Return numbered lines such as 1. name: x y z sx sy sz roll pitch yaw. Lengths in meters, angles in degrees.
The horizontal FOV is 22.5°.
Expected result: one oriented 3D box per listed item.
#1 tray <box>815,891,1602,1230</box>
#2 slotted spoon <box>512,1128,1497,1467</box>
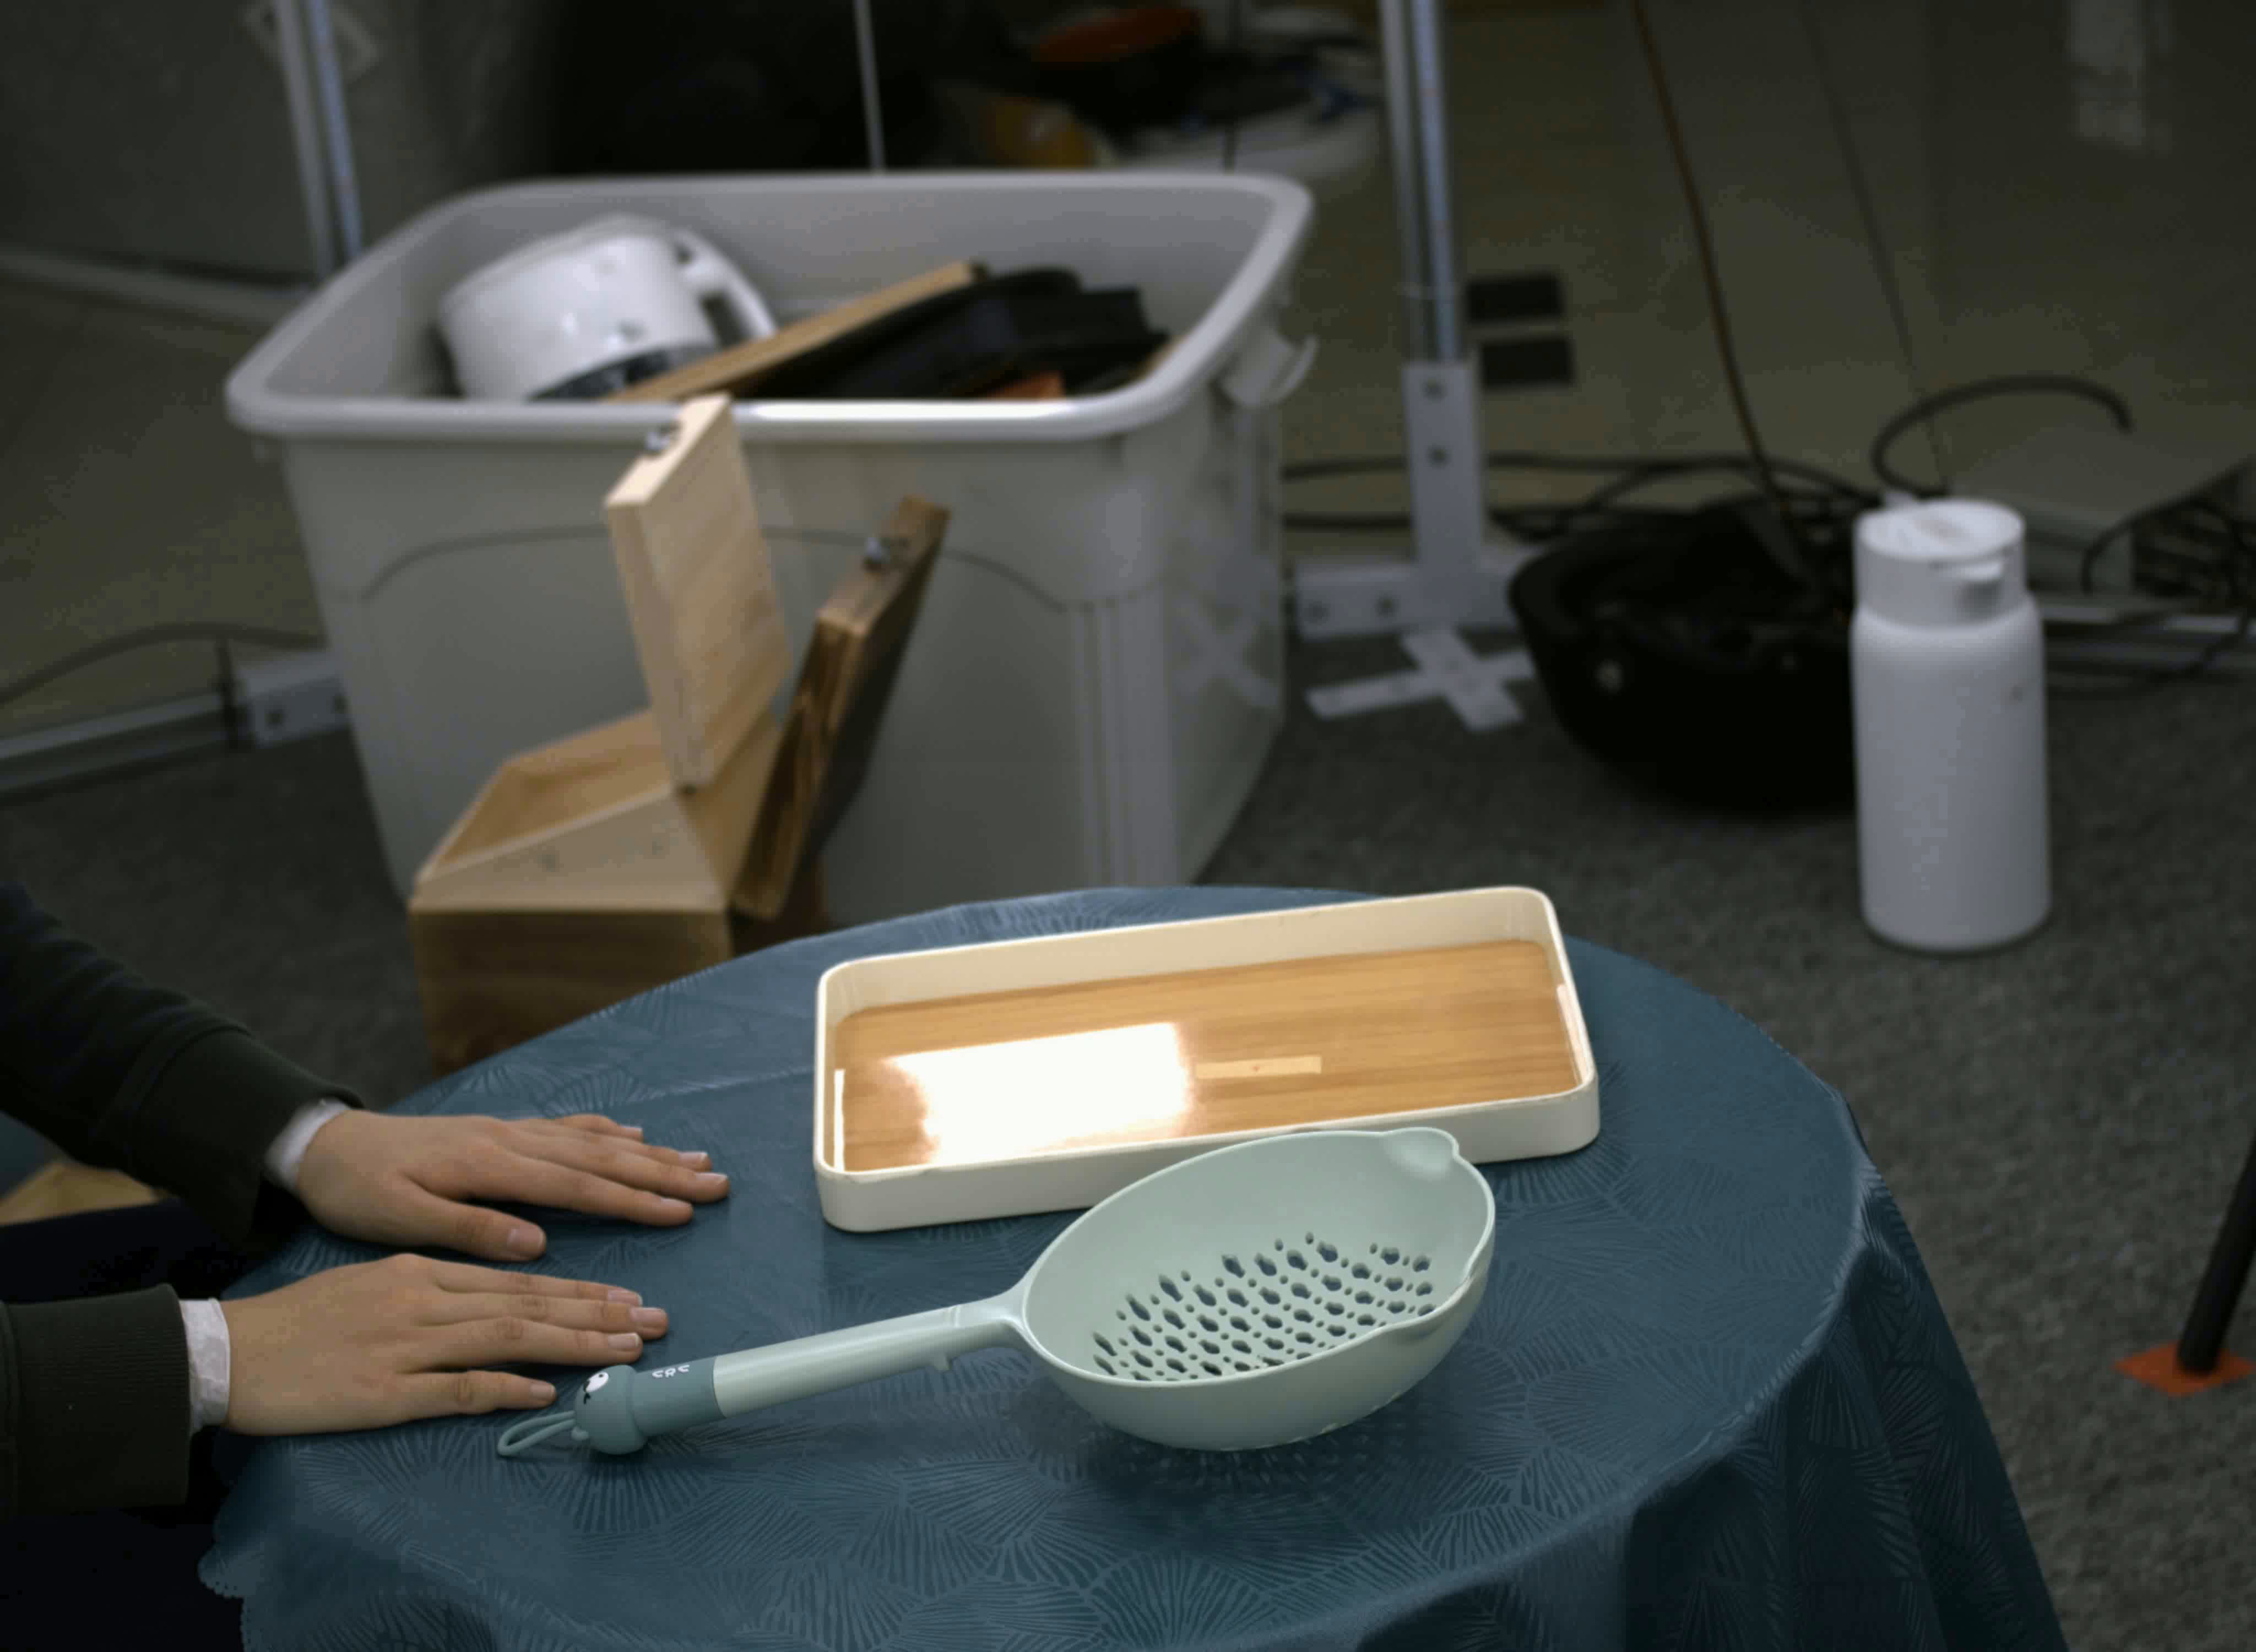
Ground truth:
1. tray: 0.028 0.090 2.220 0.300 0.028 0.189 -6 25 0
2. slotted spoon: -0.046 0.181 1.998 0.358 0.076 0.167 -4 24 5
